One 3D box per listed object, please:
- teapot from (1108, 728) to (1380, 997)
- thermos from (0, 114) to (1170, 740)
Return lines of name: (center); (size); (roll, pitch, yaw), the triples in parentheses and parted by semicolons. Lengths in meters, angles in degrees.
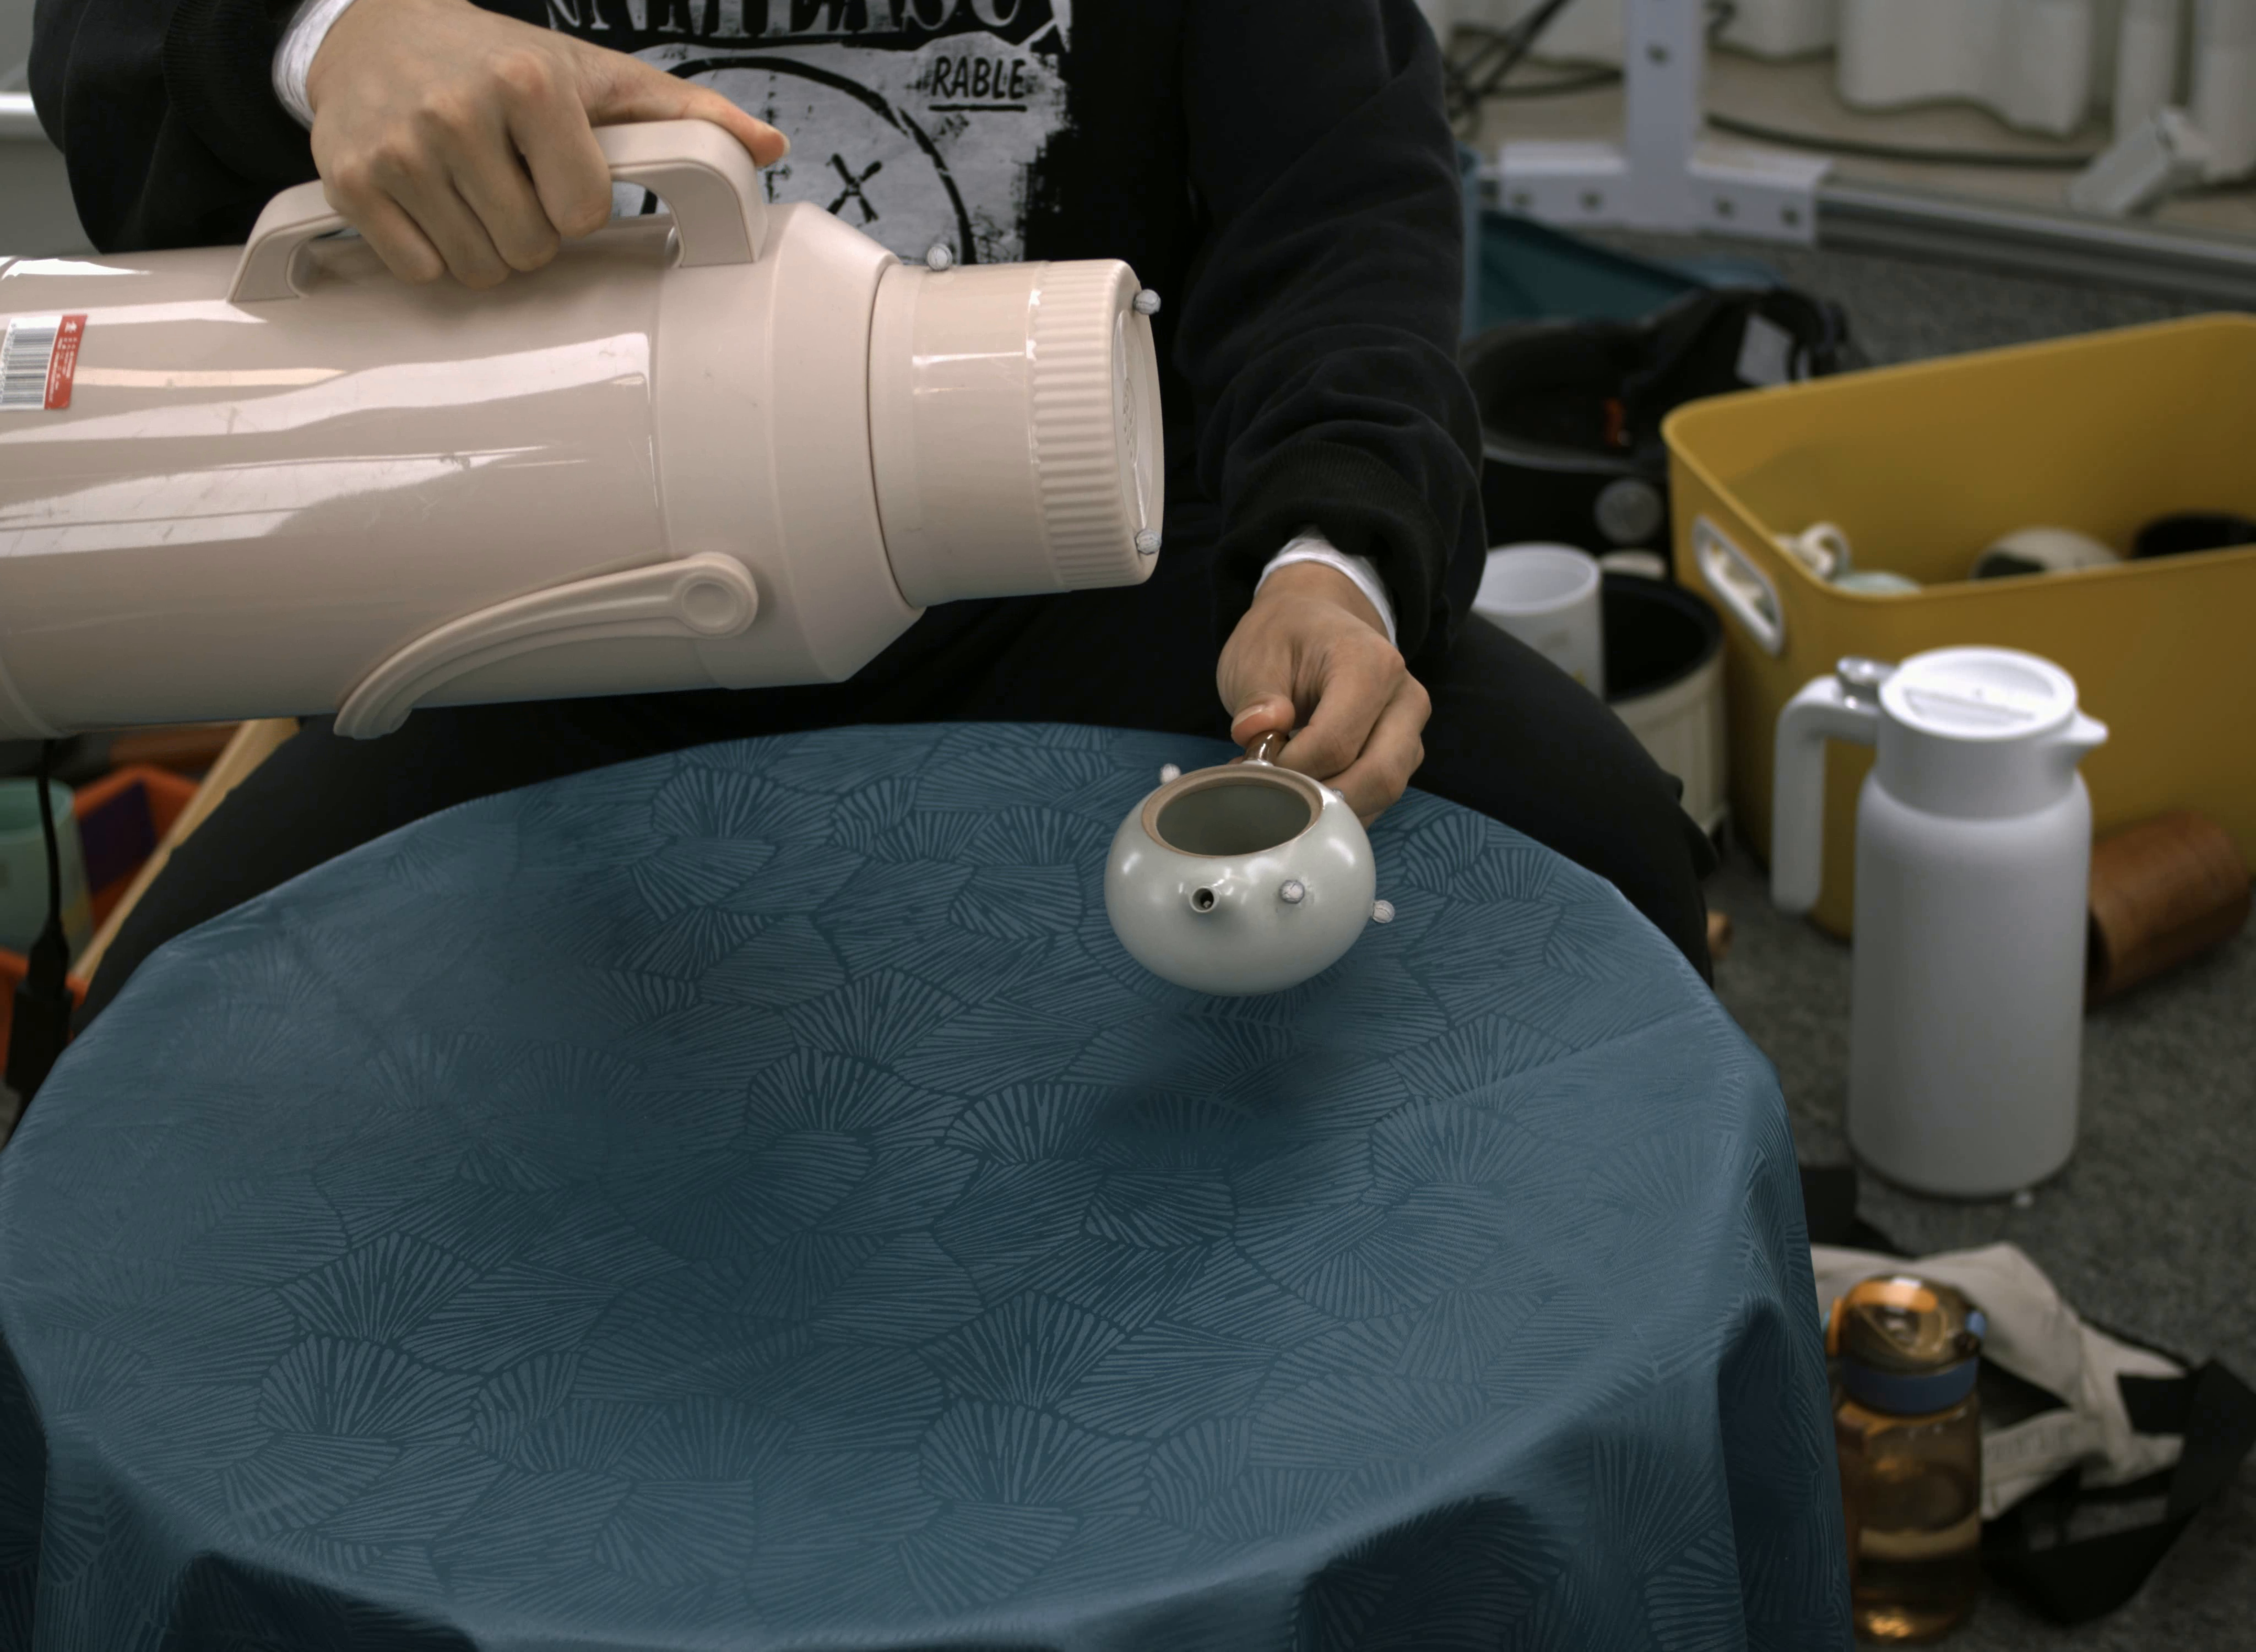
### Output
teapot: (0.041, 0.013, 1.894); (0.091, 0.059, 0.130); (-2, 30, 13)
thermos: (-0.195, -0.131, 1.830); (0.403, 0.204, 0.179); (-3, 37, 10)
